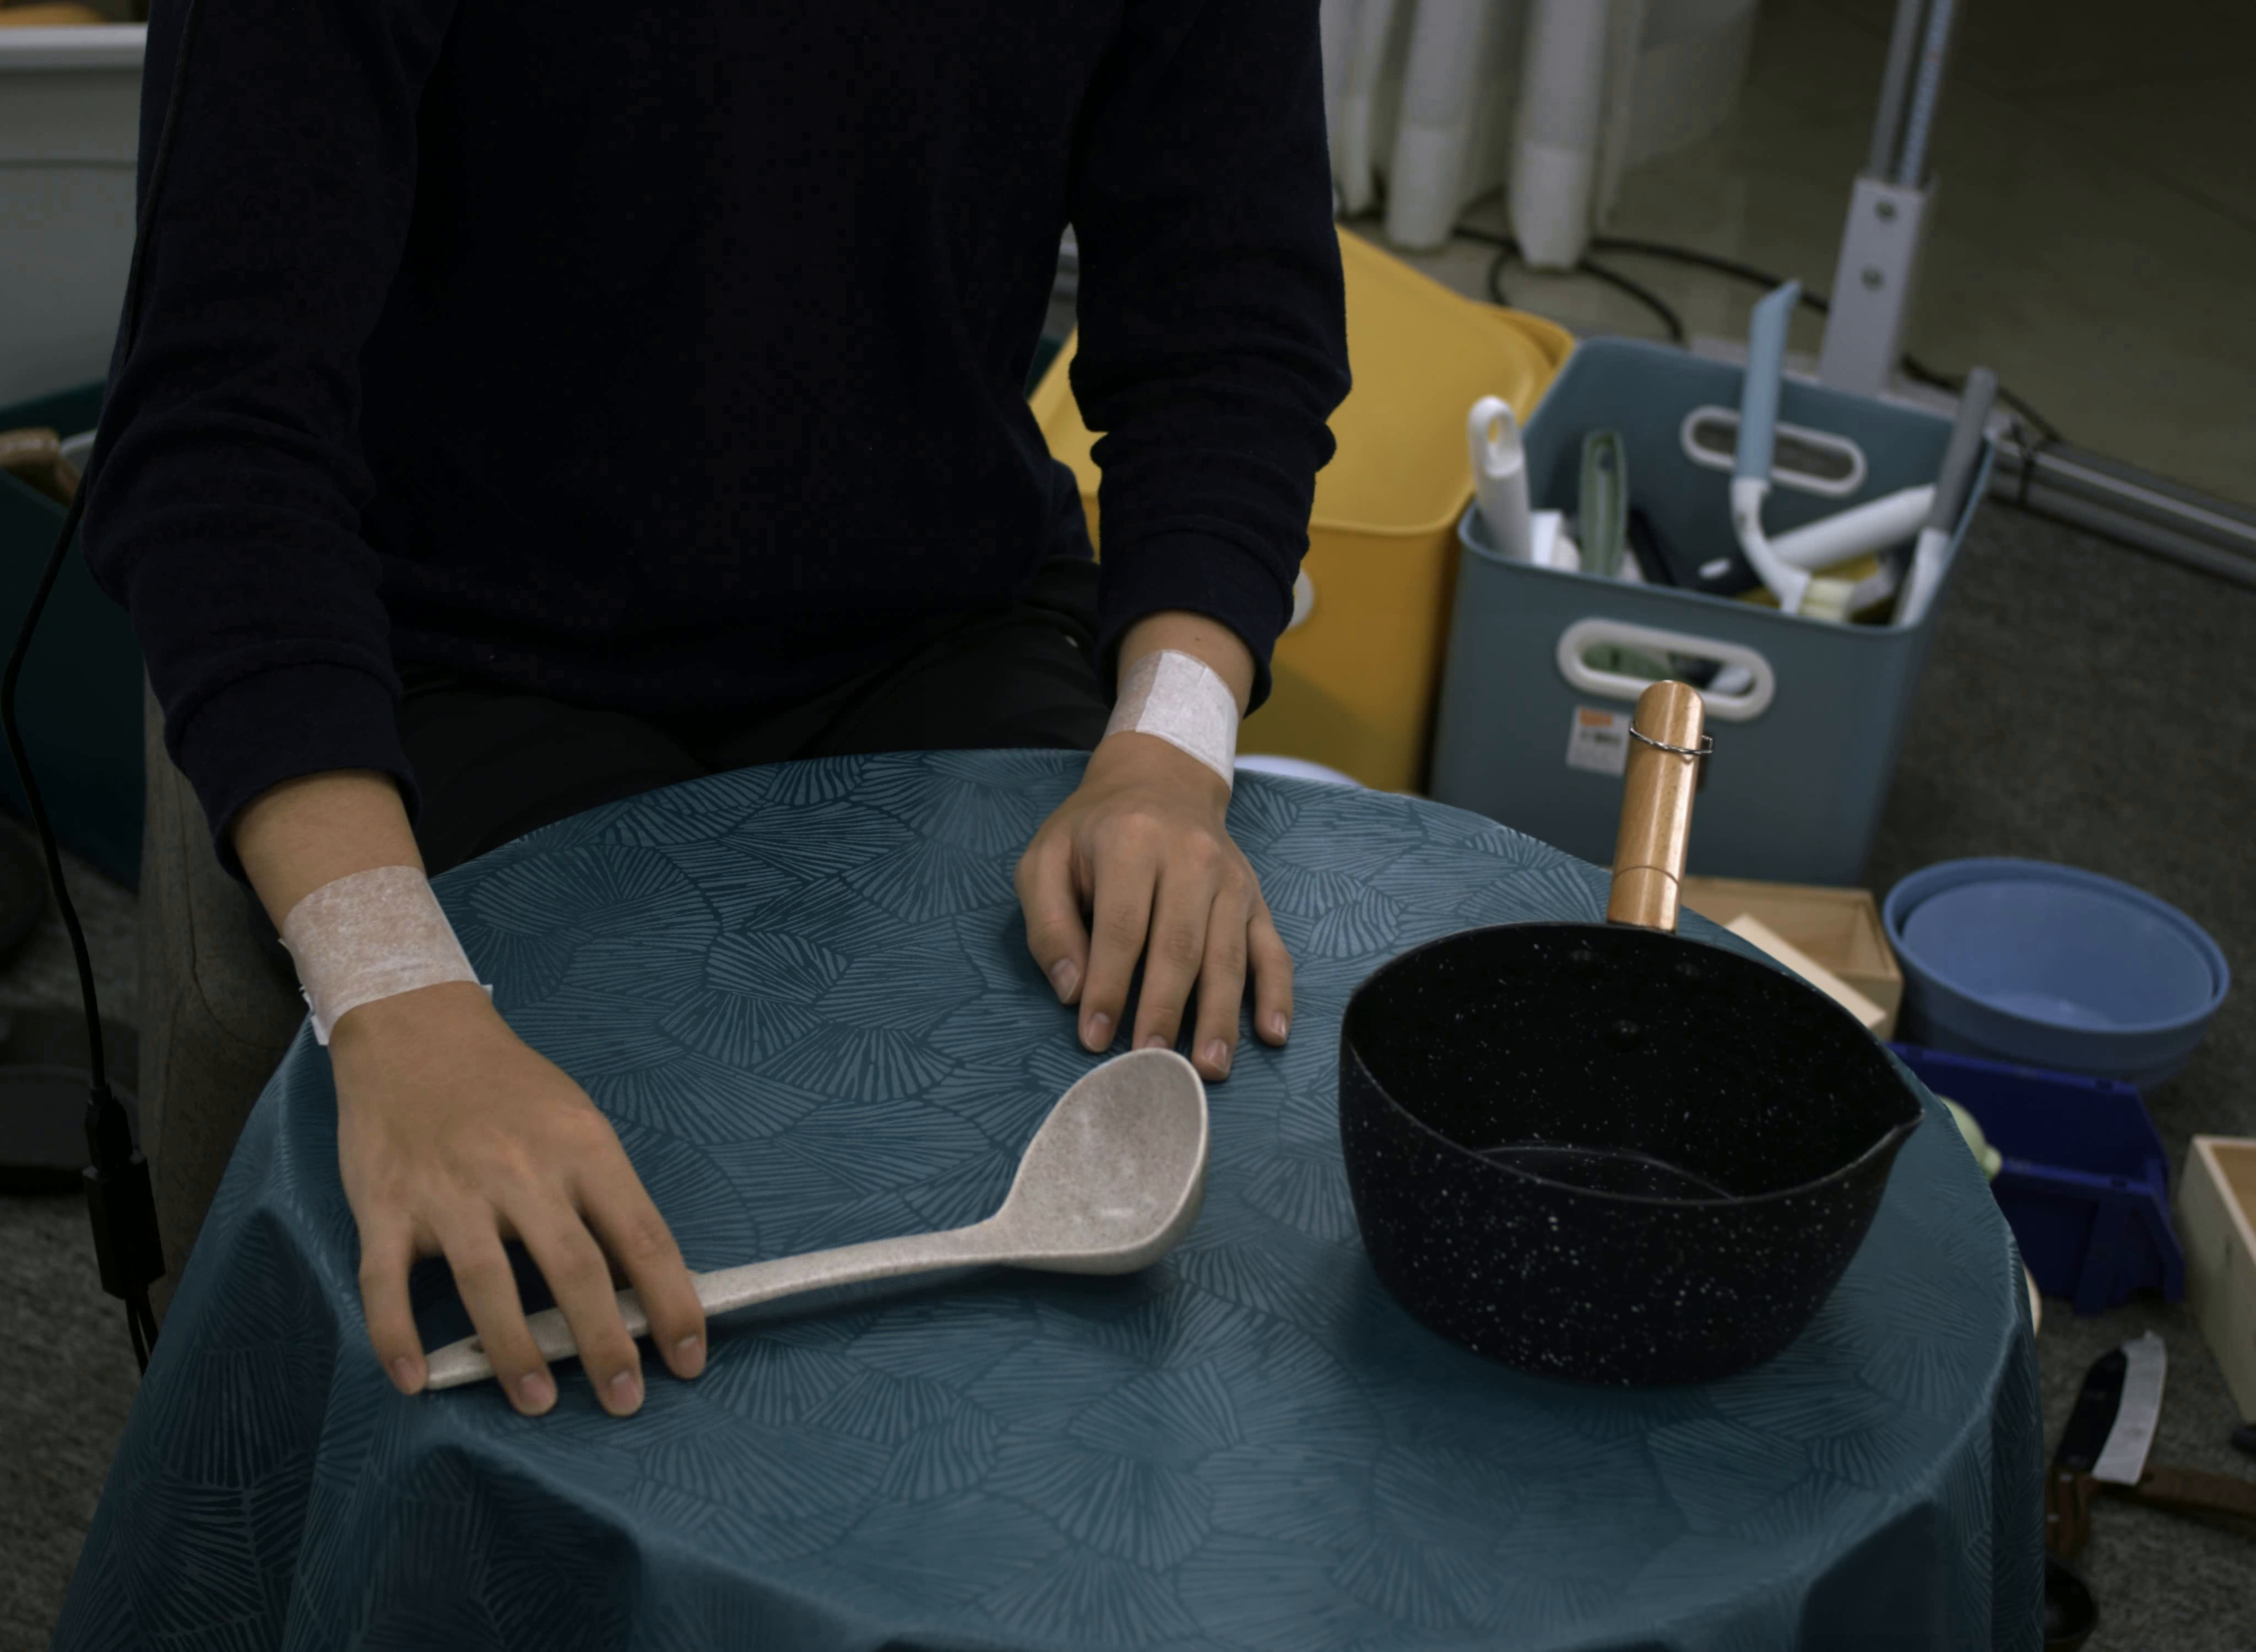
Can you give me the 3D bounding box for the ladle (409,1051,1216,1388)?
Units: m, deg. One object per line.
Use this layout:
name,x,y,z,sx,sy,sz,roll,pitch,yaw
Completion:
ladle,-0.099,0.125,1.701,0.273,0.069,0.090,-8,28,-27

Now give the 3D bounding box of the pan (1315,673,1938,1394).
pan,0.170,0.067,1.834,0.207,0.108,0.344,8,28,4
